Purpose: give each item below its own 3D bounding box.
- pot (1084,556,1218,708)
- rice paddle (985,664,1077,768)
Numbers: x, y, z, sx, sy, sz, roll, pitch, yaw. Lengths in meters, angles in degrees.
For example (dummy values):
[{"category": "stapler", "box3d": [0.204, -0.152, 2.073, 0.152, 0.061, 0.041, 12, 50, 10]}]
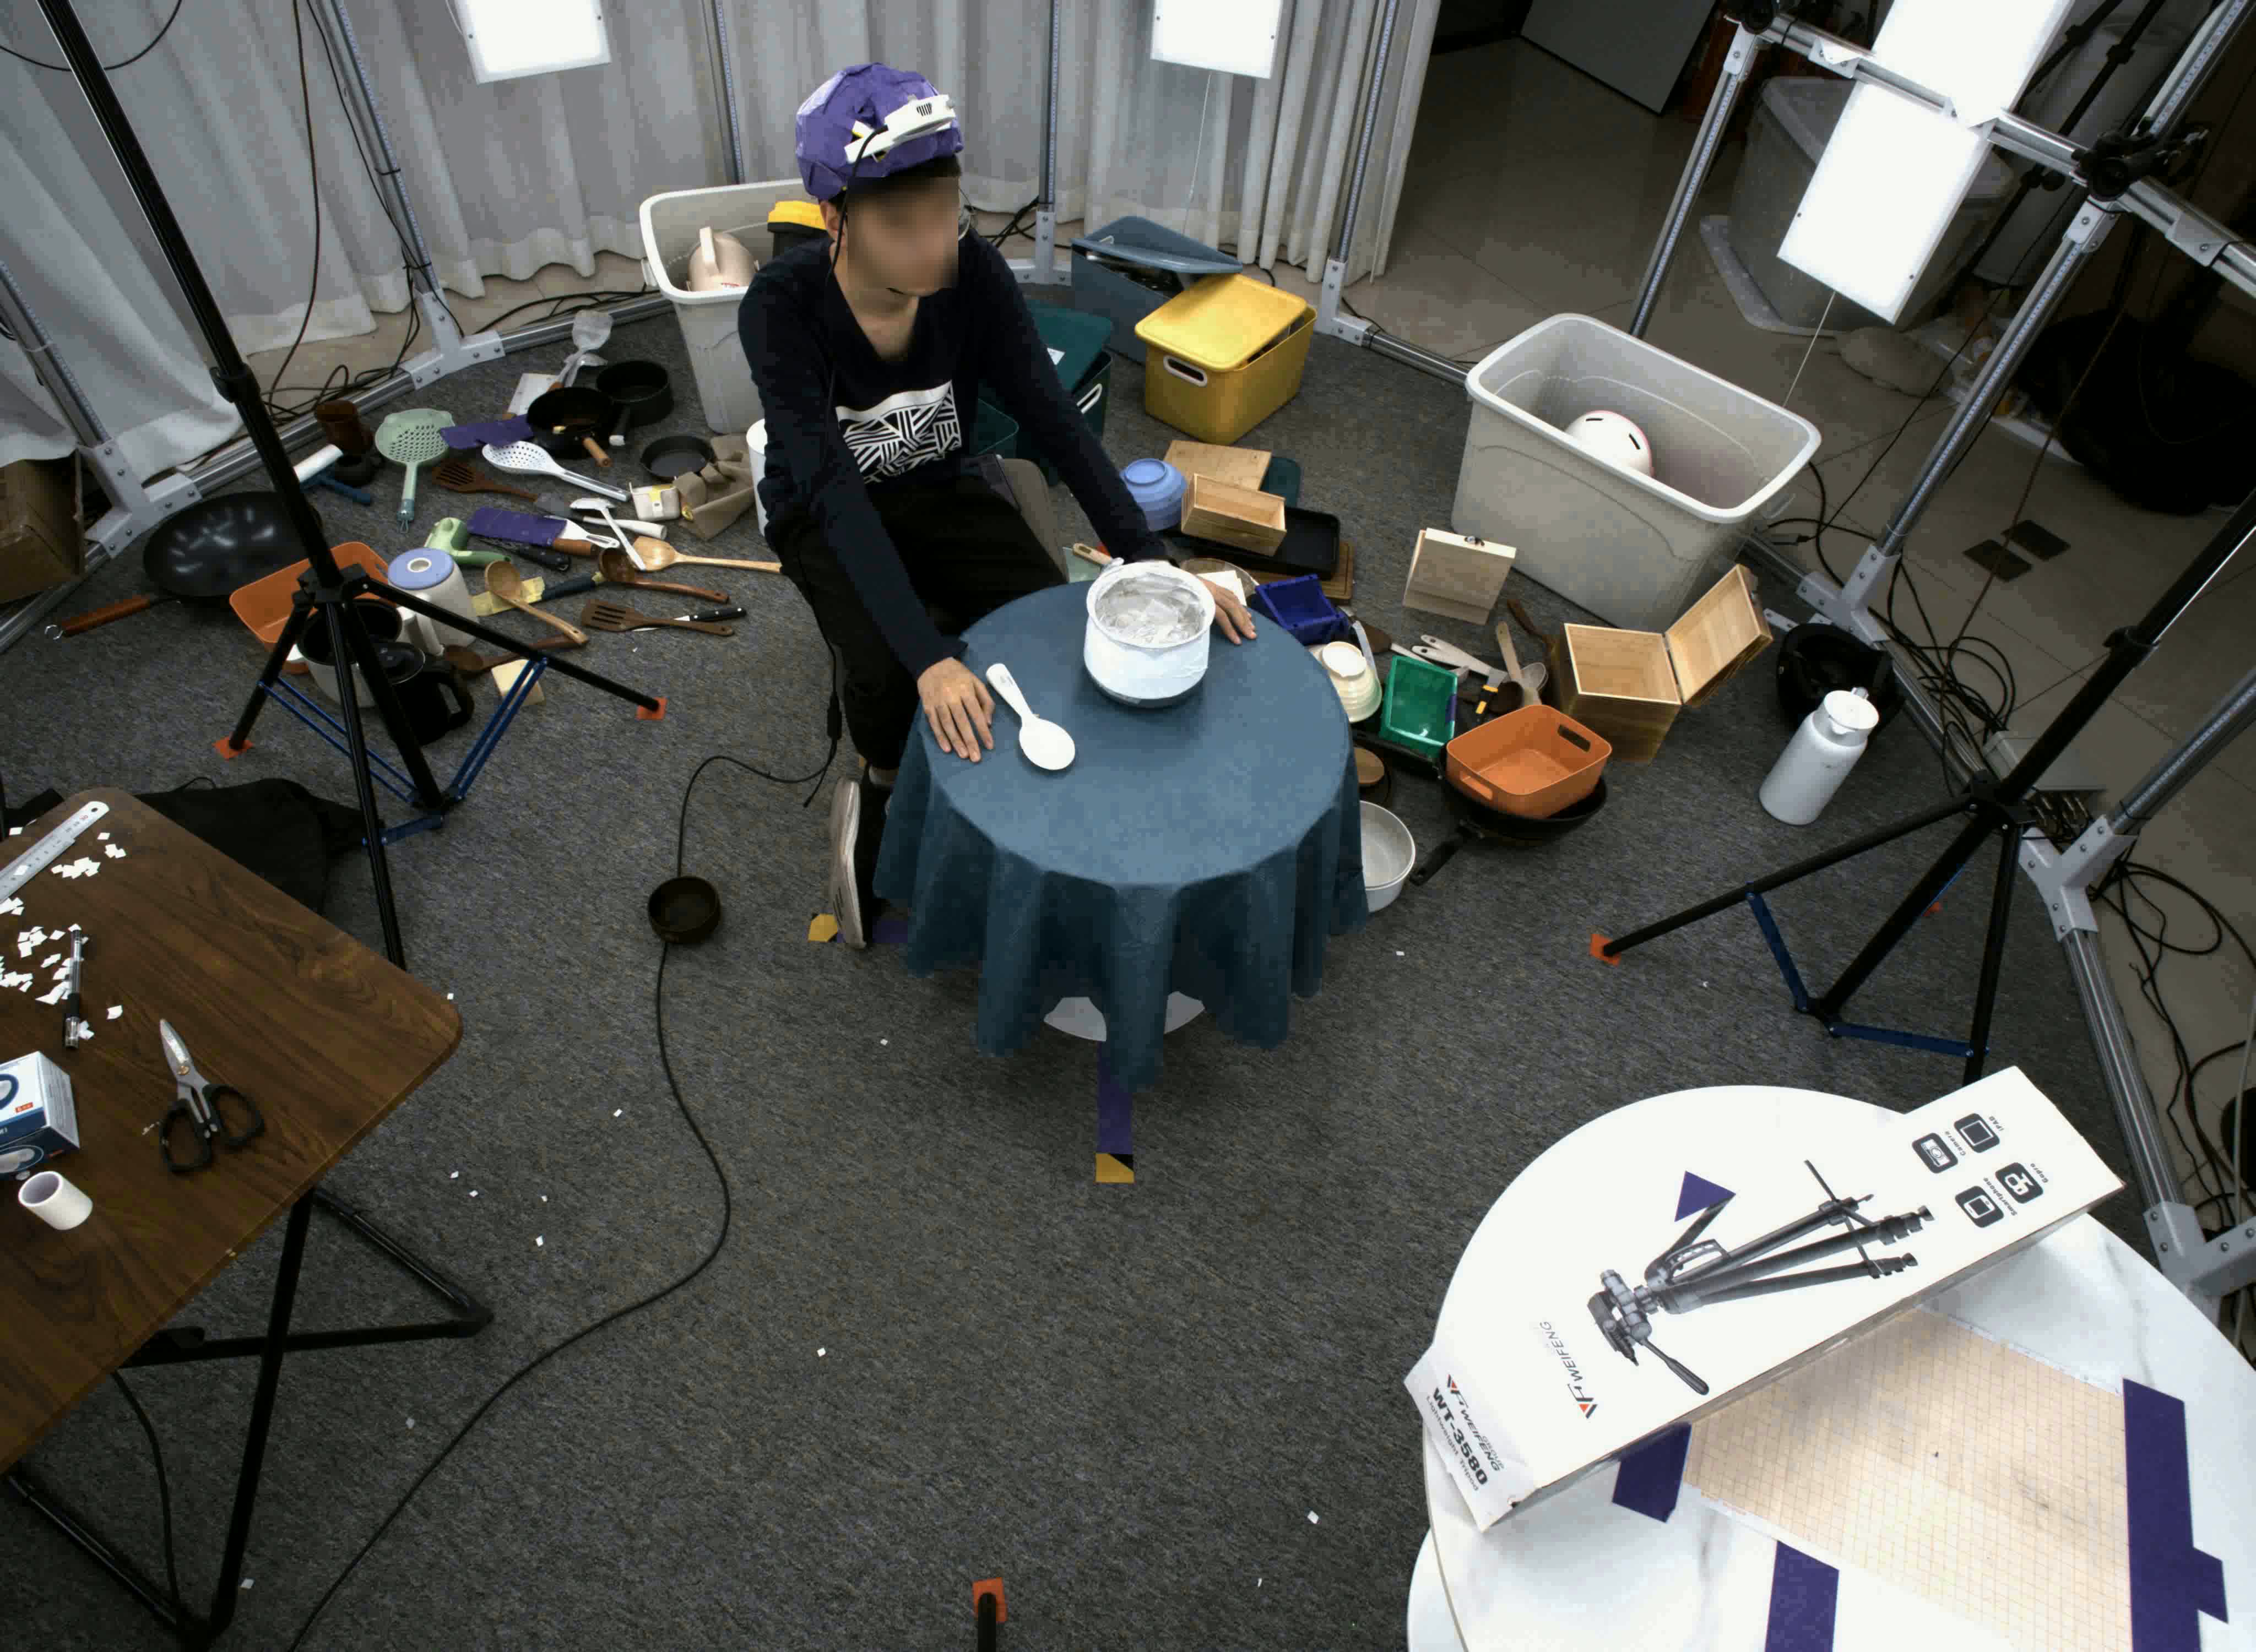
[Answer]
[{"category": "pot", "box3d": [0.015, -0.285, 1.826, 0.179, 0.133, 0.239, -19, 54, -22]}, {"category": "rice paddle", "box3d": [-0.137, -0.151, 1.771, 0.069, 0.029, 0.209, -23, 54, -19]}]
